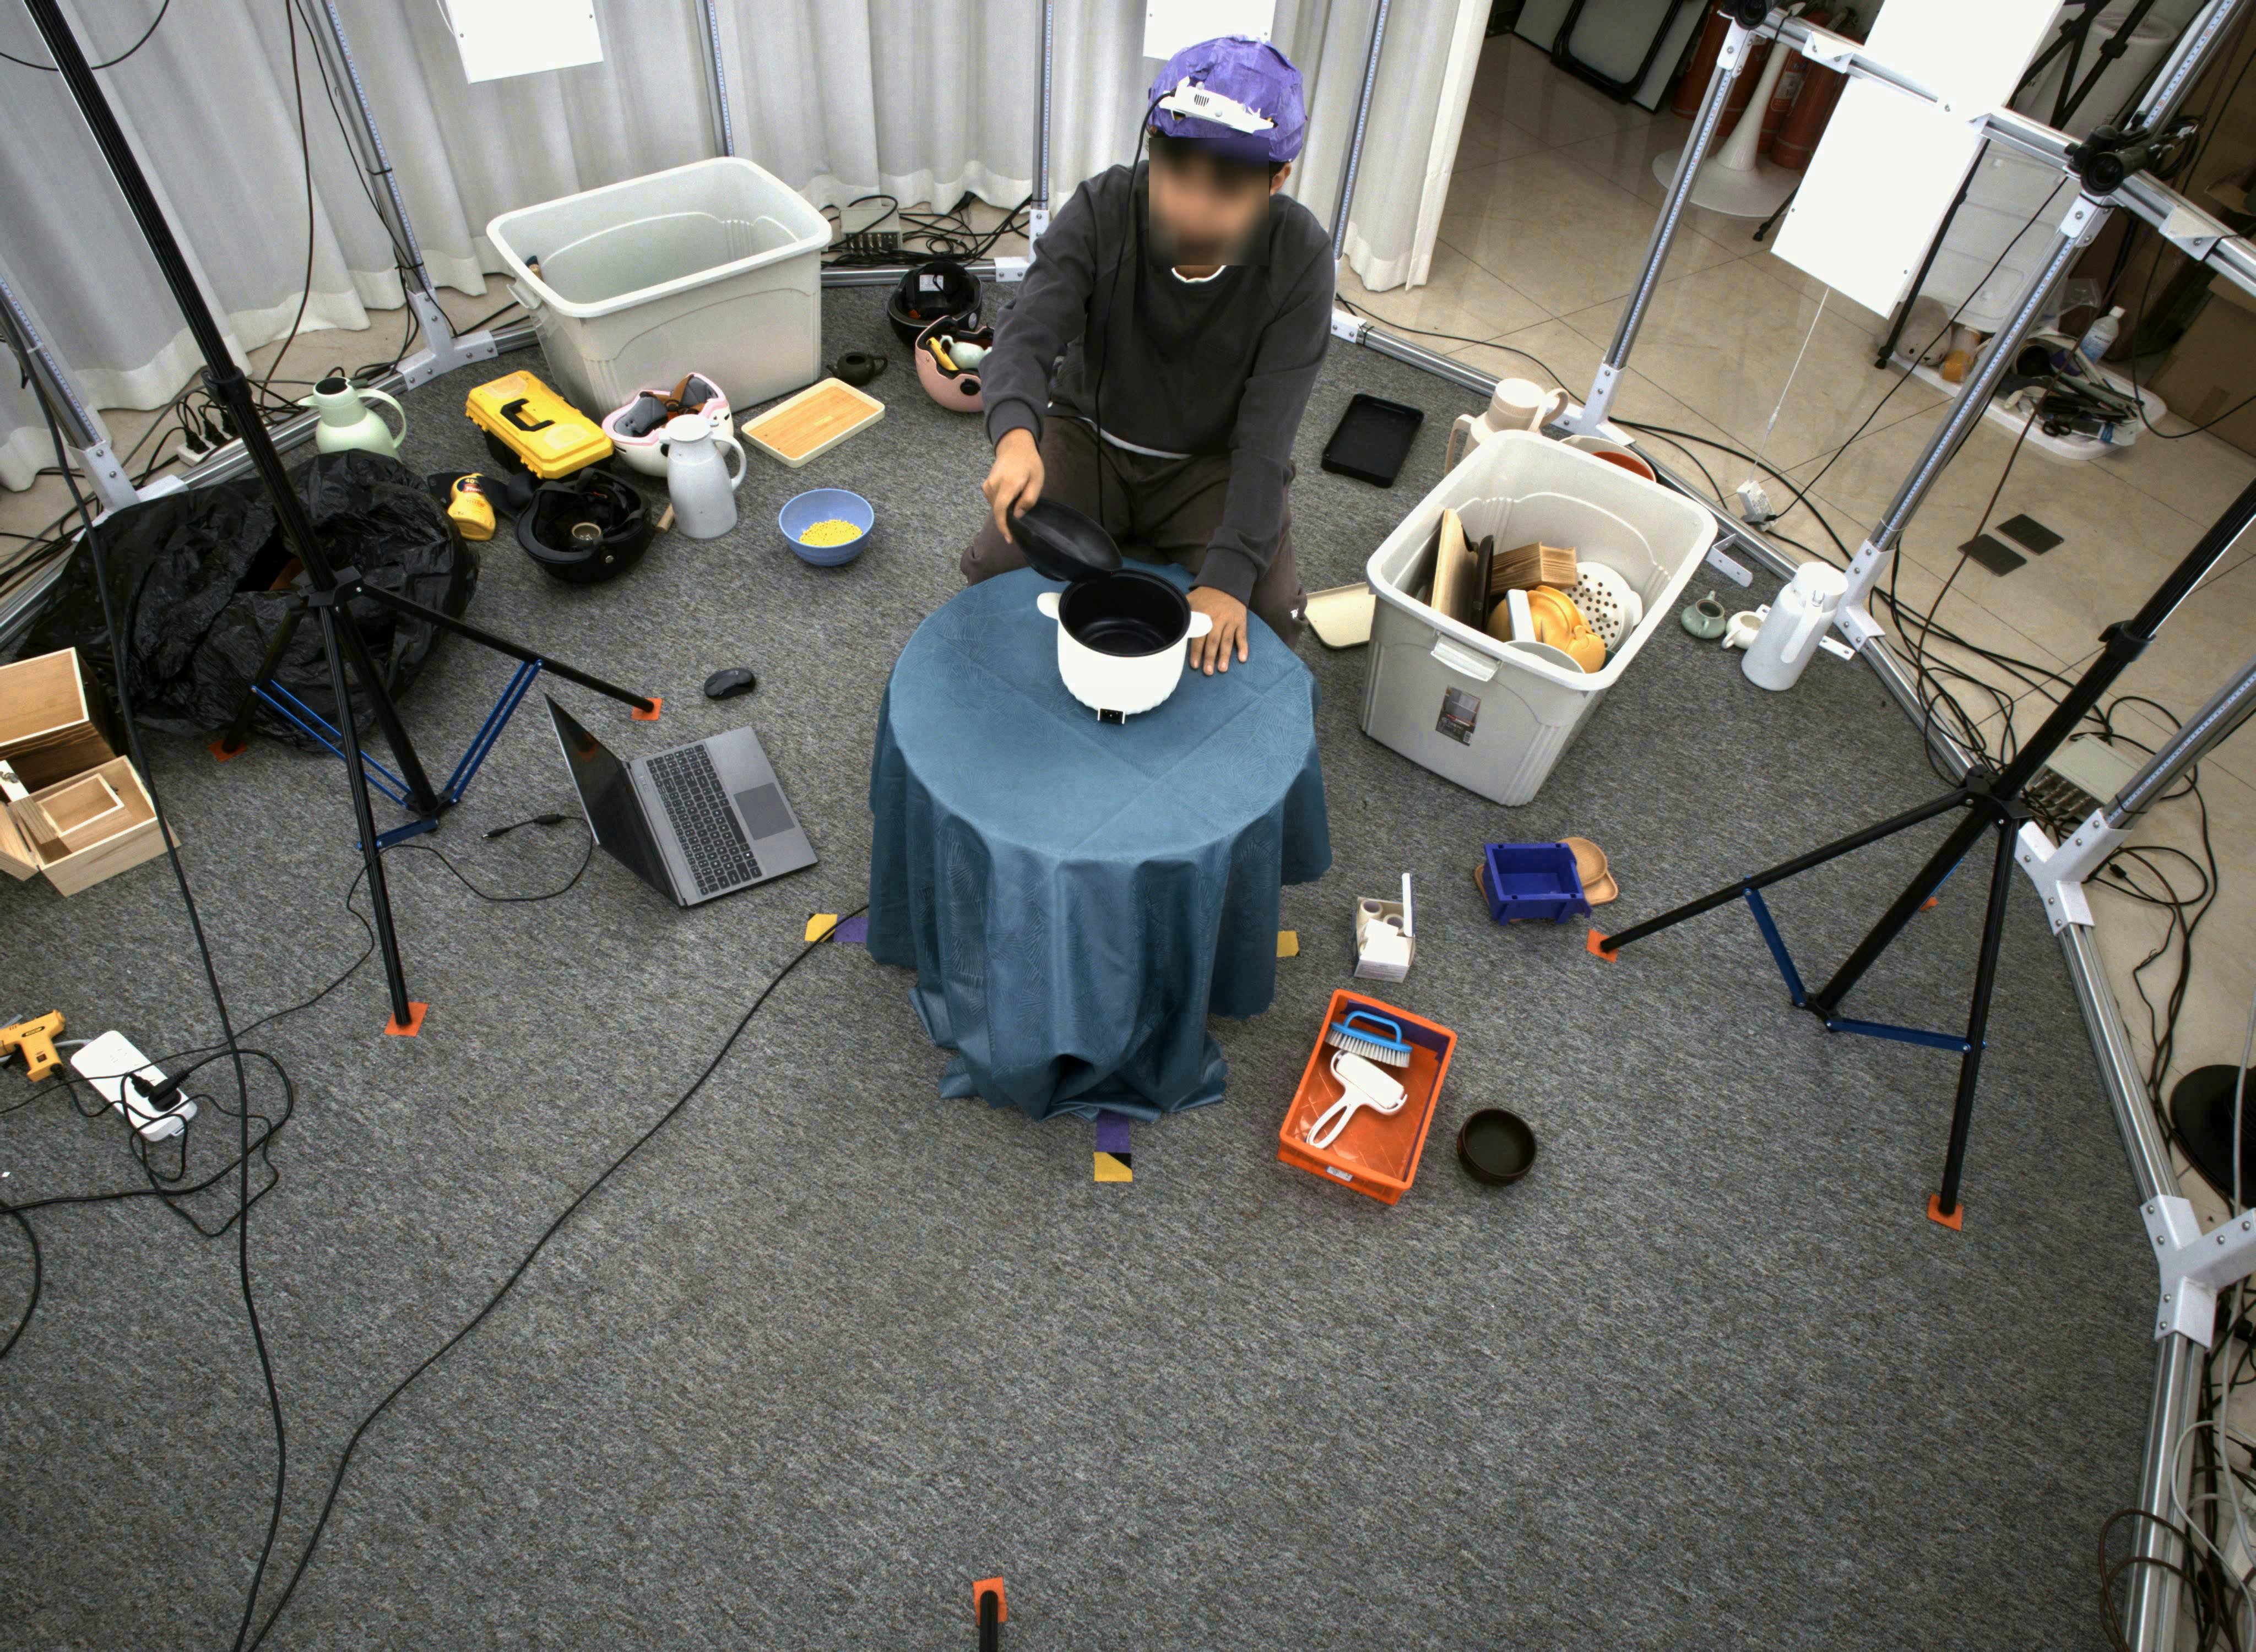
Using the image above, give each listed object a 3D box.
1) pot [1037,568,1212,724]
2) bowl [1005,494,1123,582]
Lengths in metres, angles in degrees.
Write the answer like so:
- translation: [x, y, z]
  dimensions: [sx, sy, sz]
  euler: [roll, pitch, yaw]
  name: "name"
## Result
- translation: [-0.009, -0.255, 1.797]
  dimensions: [0.240, 0.139, 0.195]
  euler: [8, 52, 1]
  name: "pot"
- translation: [-0.093, -0.370, 1.705]
  dimensions: [0.169, 0.065, 0.140]
  euler: [28, 33, -10]
  name: "bowl"
